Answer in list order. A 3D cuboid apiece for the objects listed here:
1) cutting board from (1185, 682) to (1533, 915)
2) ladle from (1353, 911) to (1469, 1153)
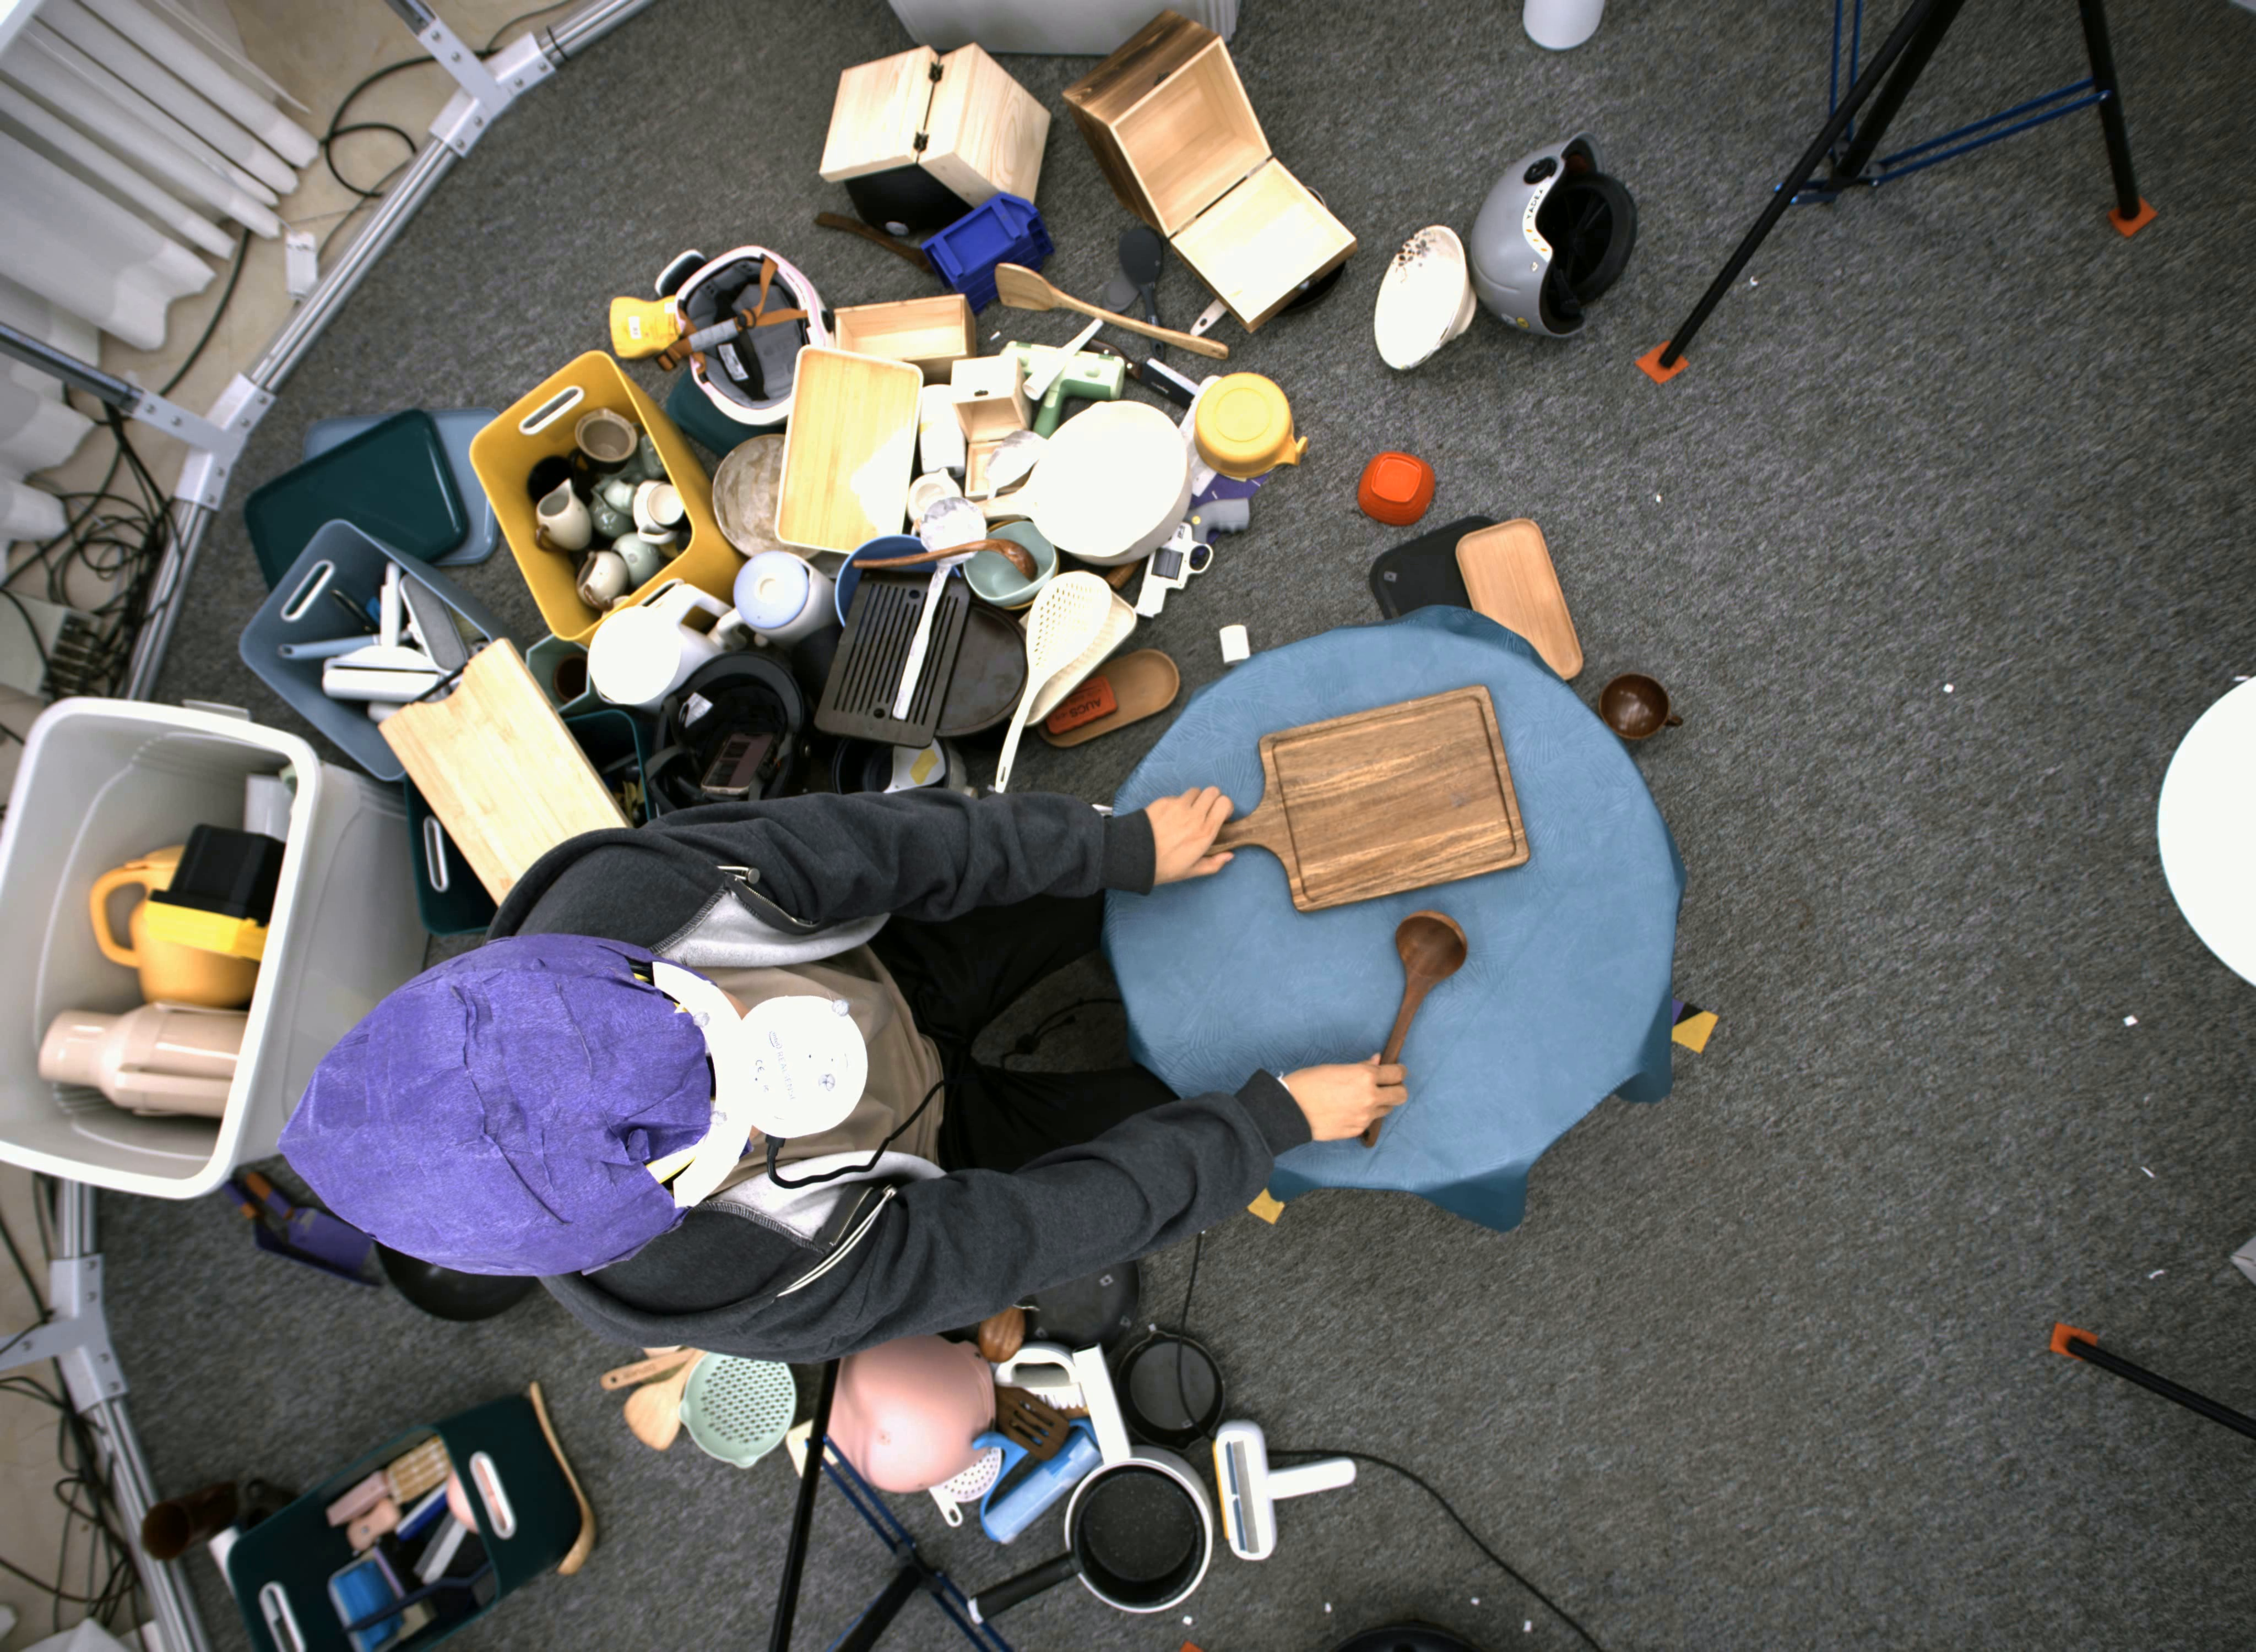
[{"bbox_3d":[0.231,-0.019,1.460,0.354,0.023,0.199,-13,83,9],"label":"cutting board"},{"bbox_3d":[0.279,0.211,1.416,0.076,0.065,0.260,21,90,26],"label":"ladle"}]
